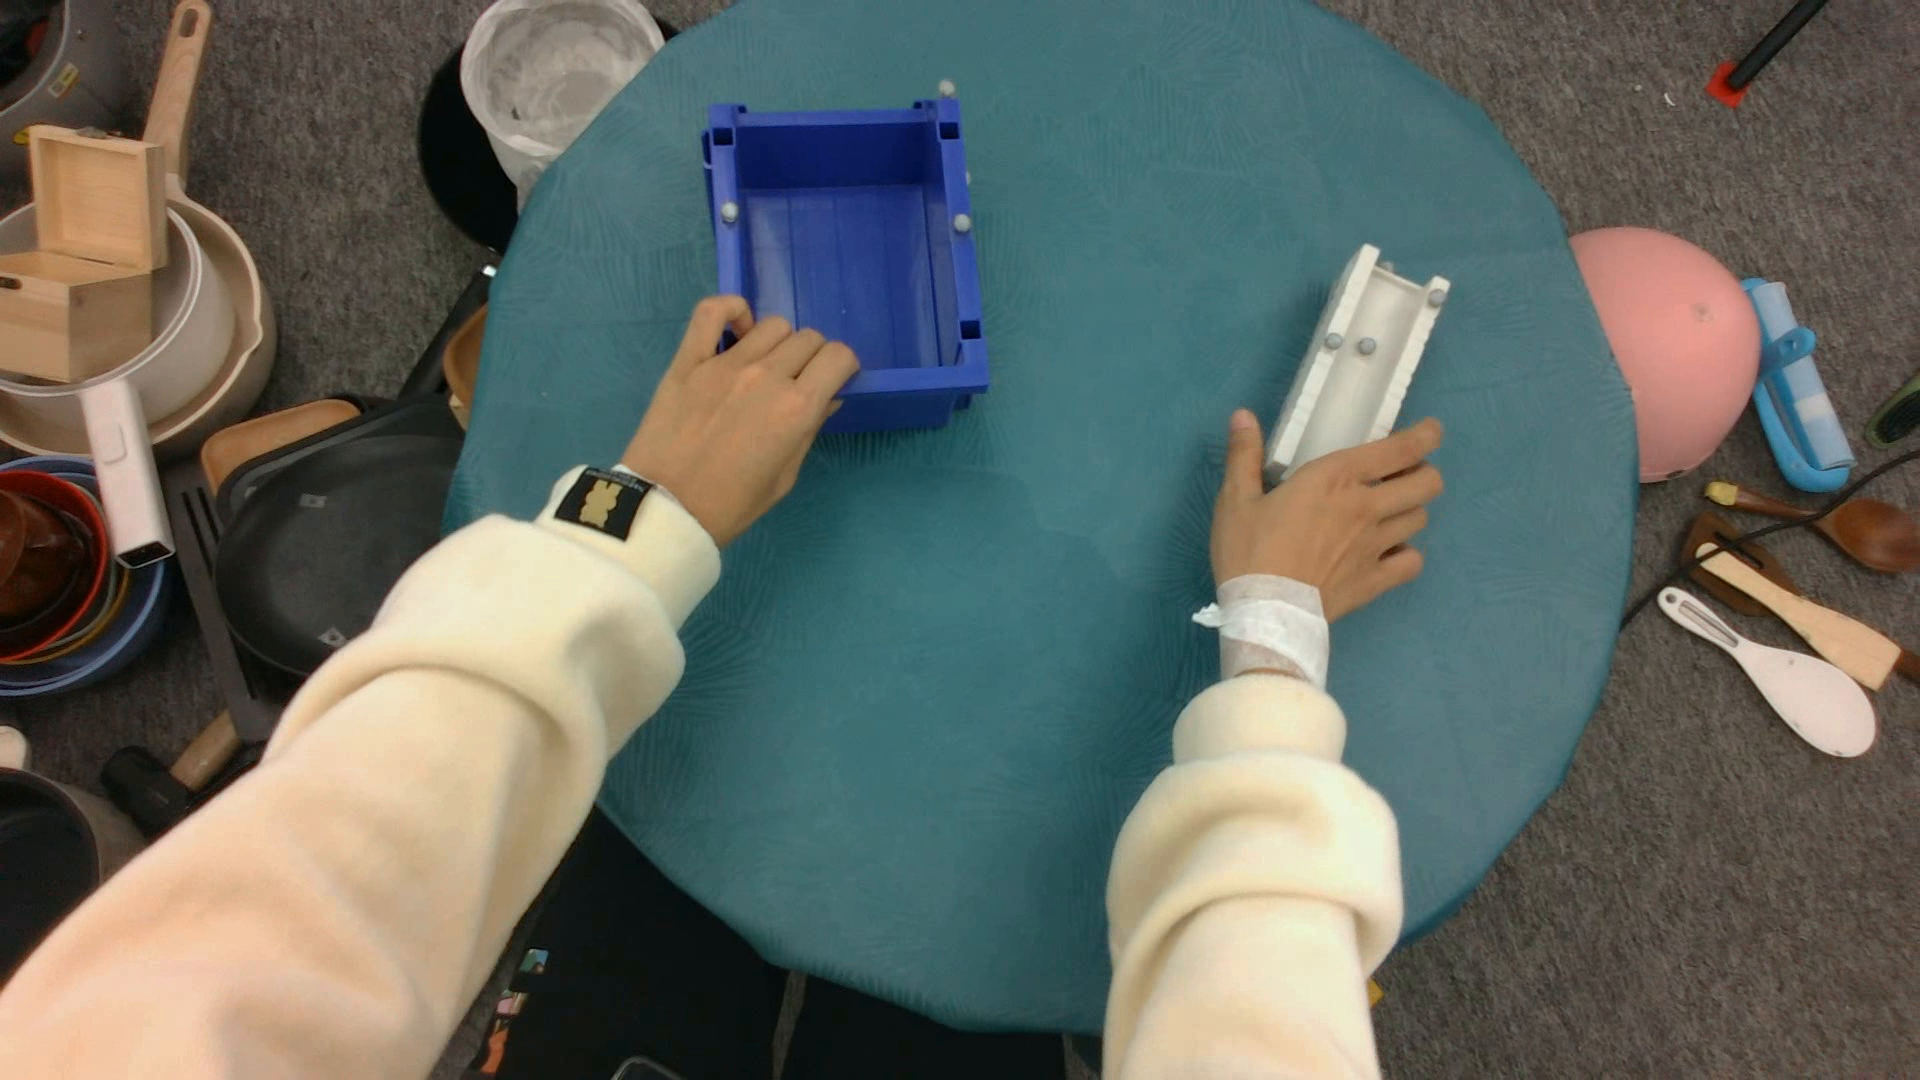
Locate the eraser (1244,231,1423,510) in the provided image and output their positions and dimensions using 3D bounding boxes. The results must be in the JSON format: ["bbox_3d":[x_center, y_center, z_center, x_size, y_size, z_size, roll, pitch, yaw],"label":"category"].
[{"bbox_3d":[0.190,-0.086,0.704,0.050,0.046,0.135,23,70,-1],"label":"eraser"}]

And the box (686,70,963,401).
[{"bbox_3d":[-0.070,-0.156,0.678,0.124,0.081,0.180,-2,75,-7],"label":"box"}]
